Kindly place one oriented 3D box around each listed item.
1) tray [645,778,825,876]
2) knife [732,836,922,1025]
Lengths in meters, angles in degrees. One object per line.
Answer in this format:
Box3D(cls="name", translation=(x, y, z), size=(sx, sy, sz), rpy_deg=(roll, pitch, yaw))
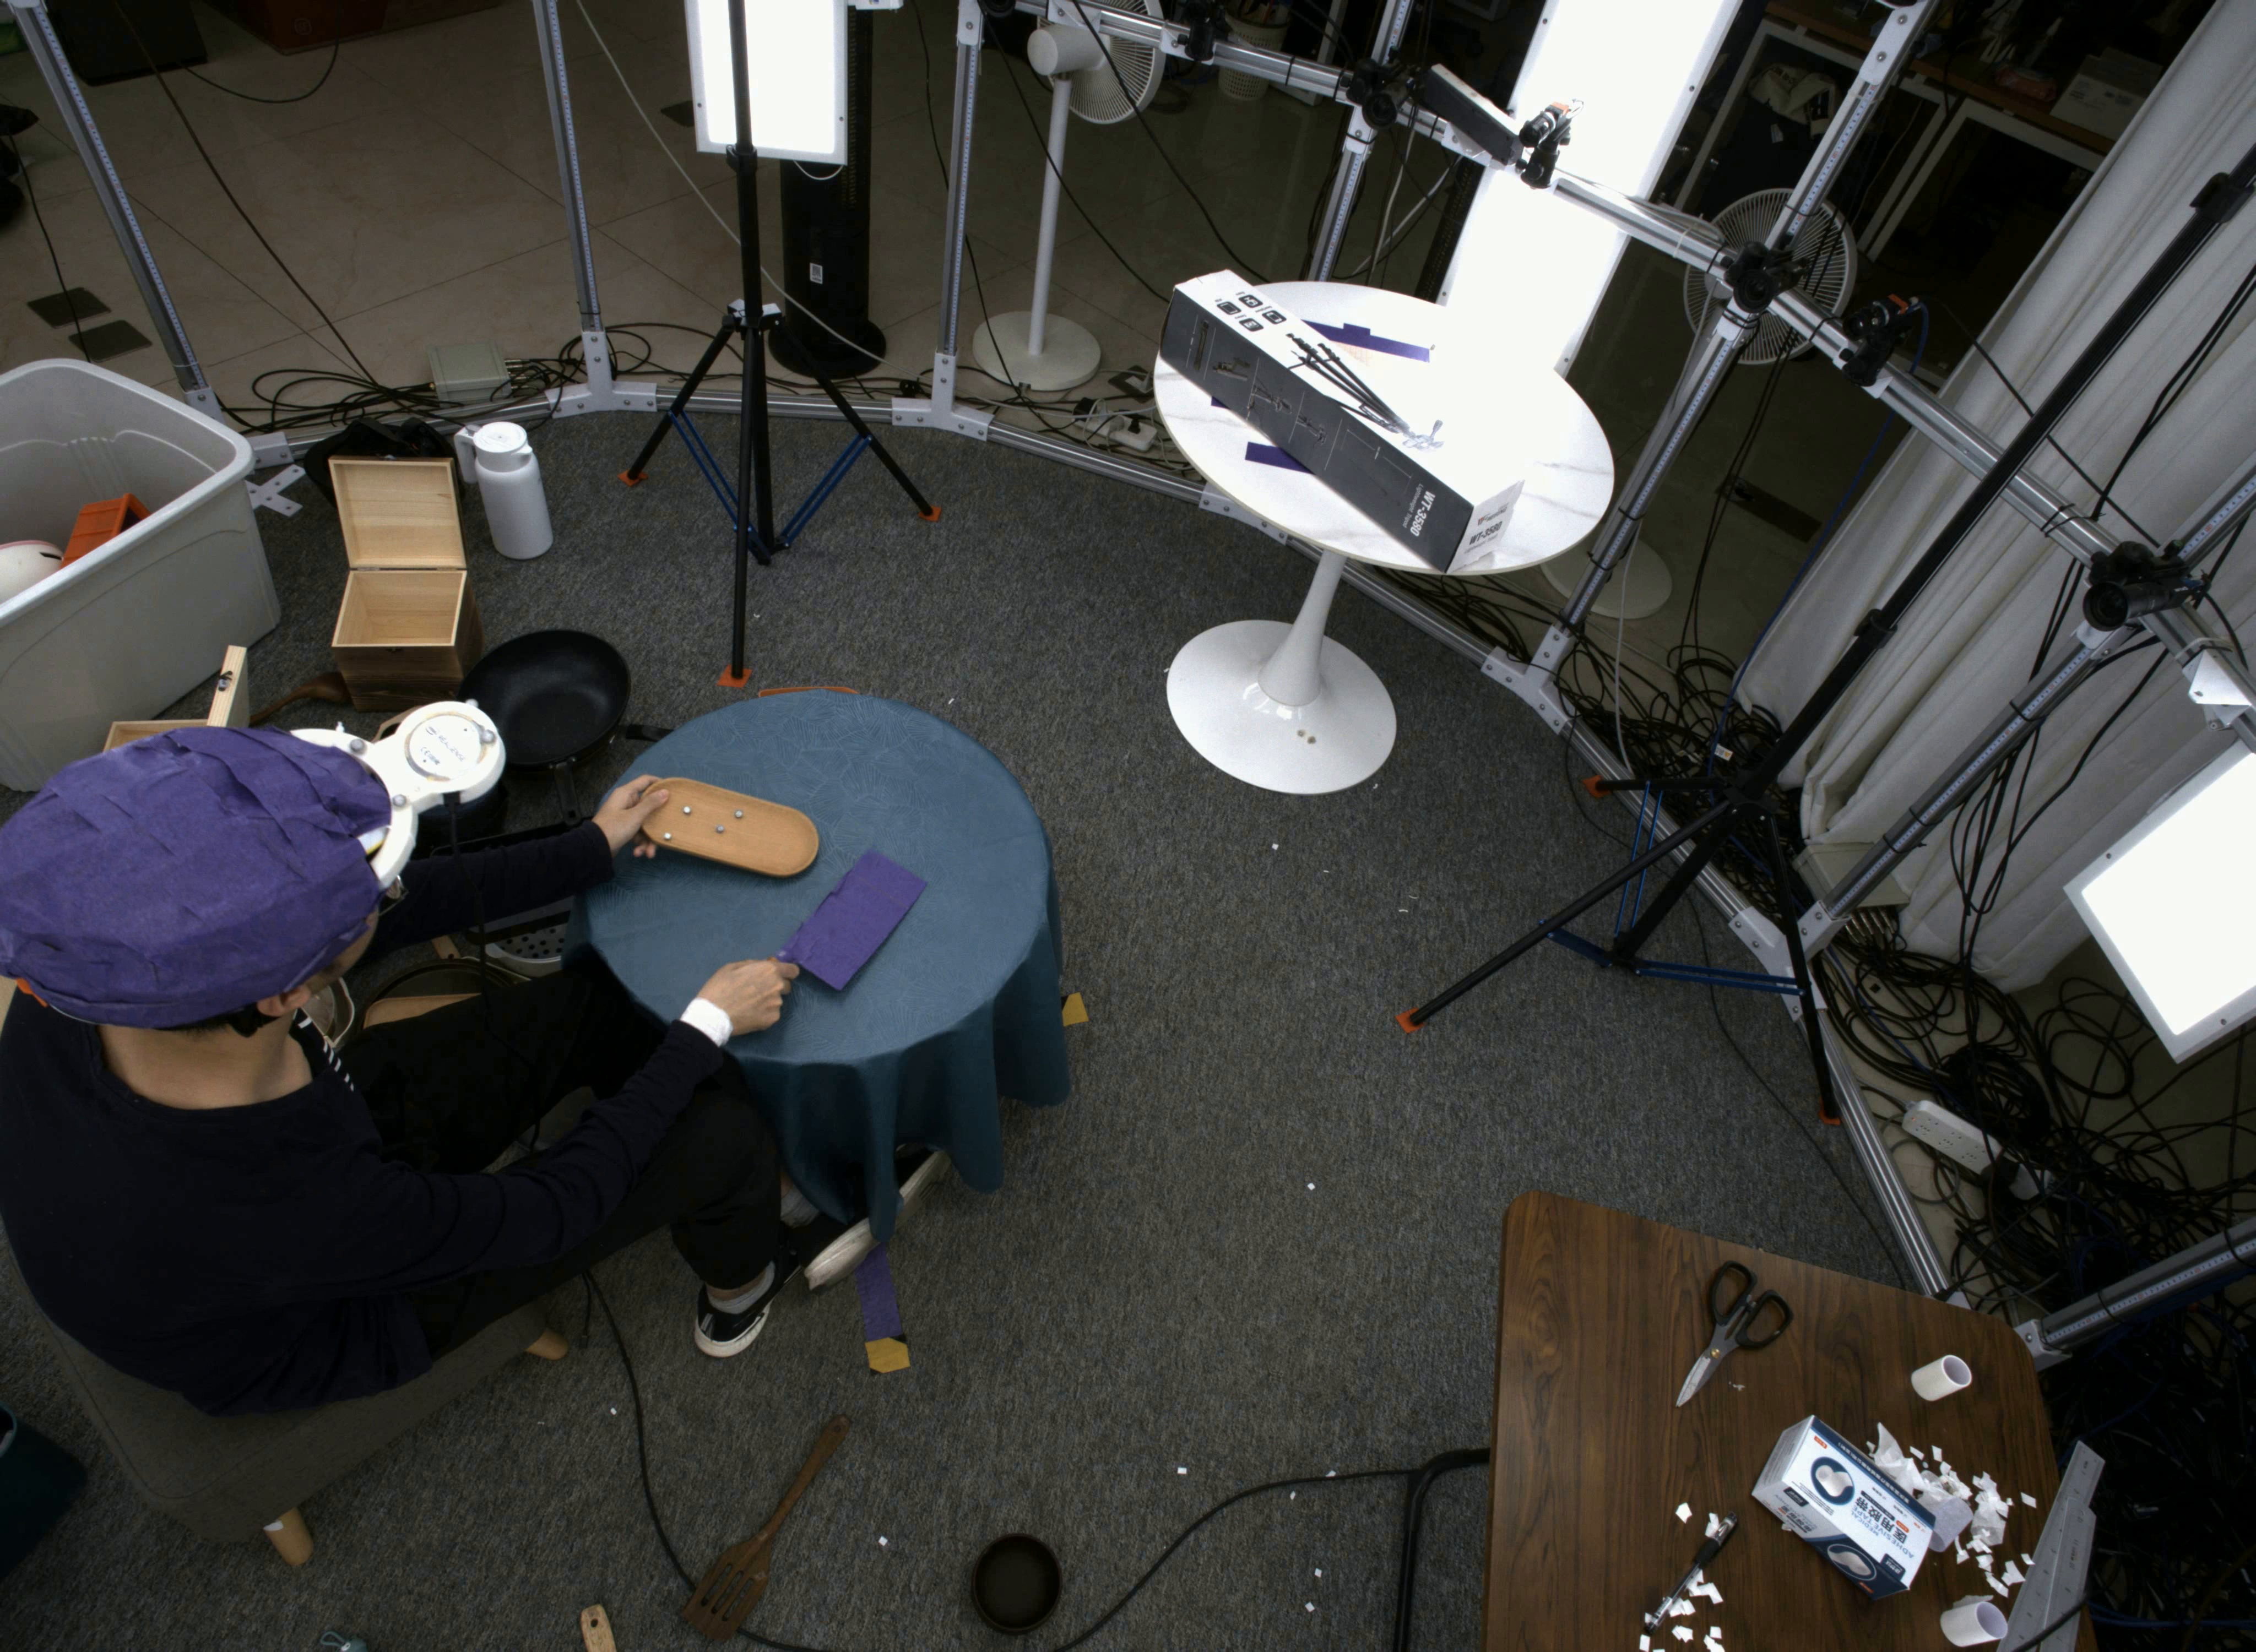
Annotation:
Box3D(cls="tray", translation=(-0.508, 0.001, 1.673), size=(0.234, 0.020, 0.100), rpy_deg=(16, 62, -20))
Box3D(cls="knife", translation=(-0.363, 0.137, 1.616), size=(0.104, 0.032, 0.313), rpy_deg=(35, 51, -2))
